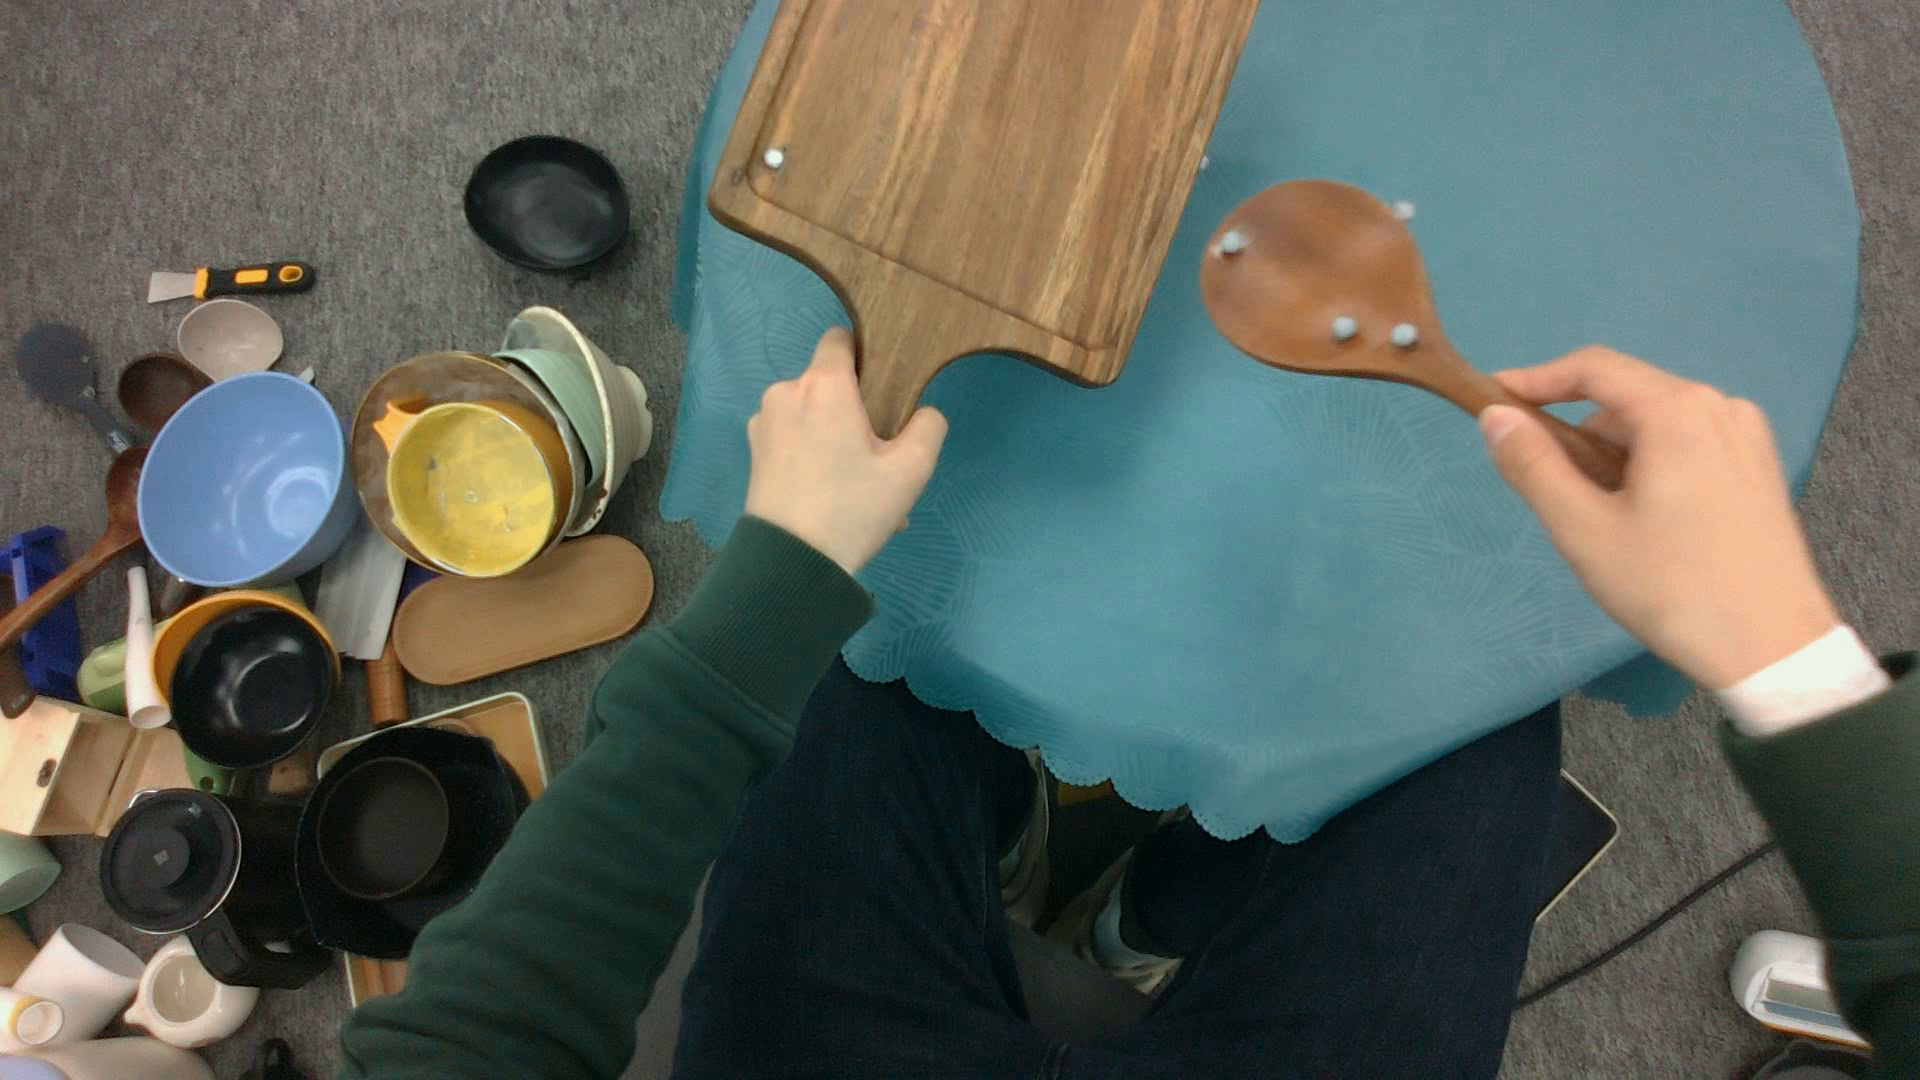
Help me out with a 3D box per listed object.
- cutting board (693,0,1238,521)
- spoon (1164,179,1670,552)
[{"bbox_3d":[0.000,-0.175,0.601,0.201,0.023,0.352,21,86,-18],"label":"cutting board"},{"bbox_3d":[0.157,-0.065,0.493,0.075,0.017,0.216,-44,55,0],"label":"spoon"}]
